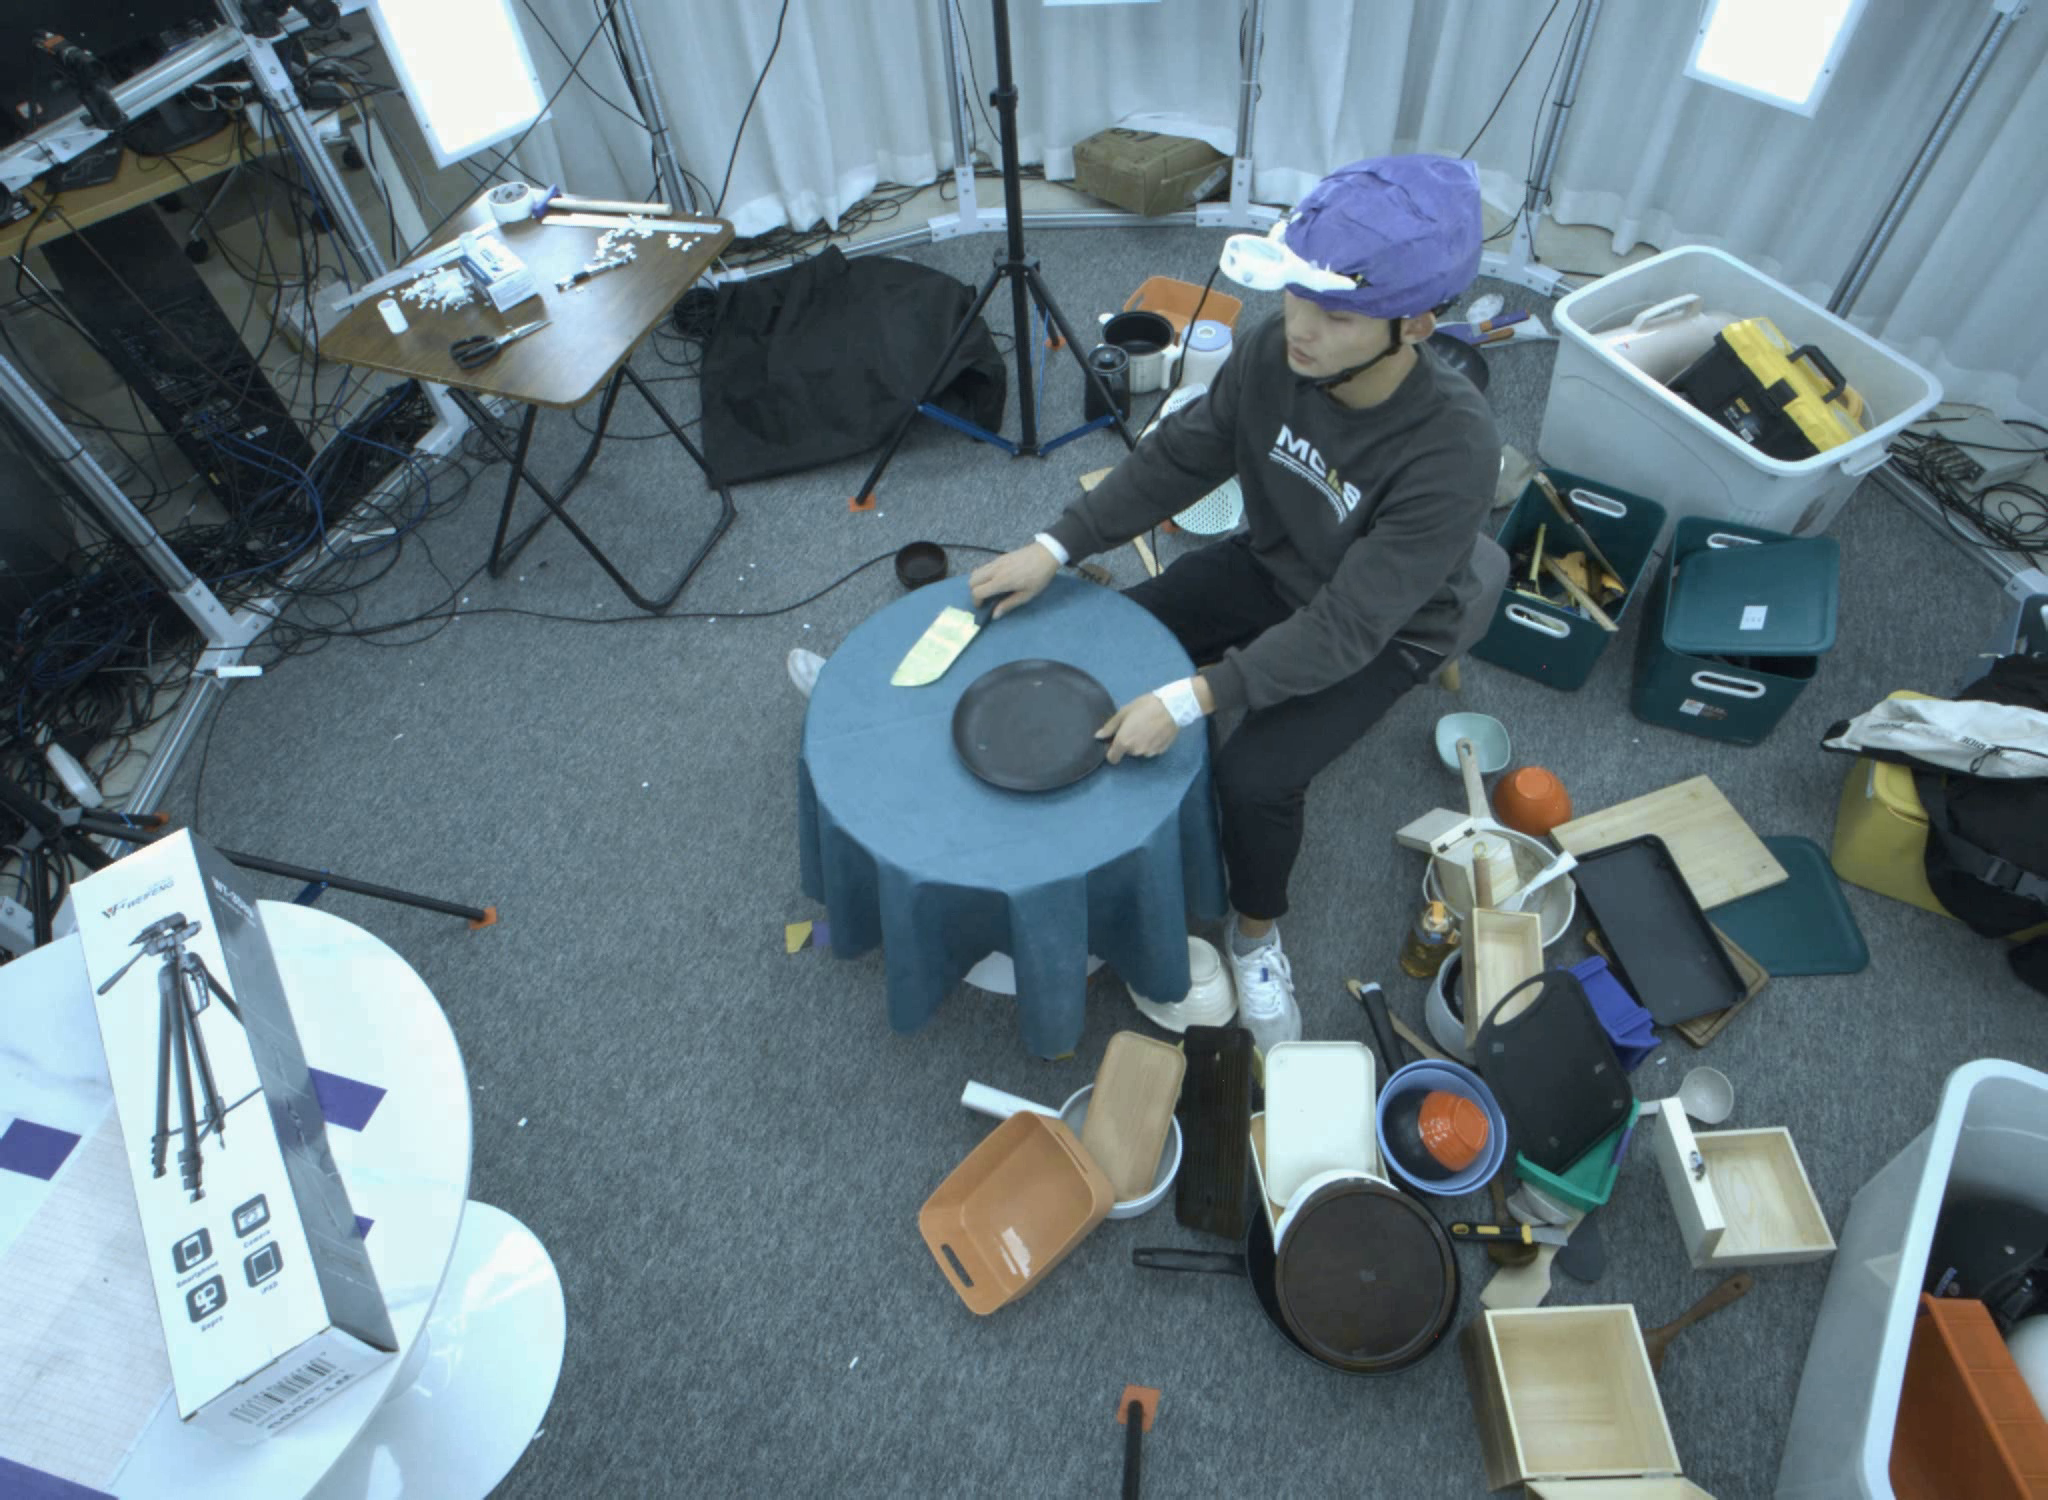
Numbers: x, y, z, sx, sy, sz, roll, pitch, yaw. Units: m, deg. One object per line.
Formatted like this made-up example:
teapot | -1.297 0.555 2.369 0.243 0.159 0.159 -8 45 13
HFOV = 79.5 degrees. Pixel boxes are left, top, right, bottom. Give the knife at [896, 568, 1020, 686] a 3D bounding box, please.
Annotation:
knife | -0.103 -0.197 1.930 0.080 0.027 0.291 30 61 20

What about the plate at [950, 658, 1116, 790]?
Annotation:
plate | 0.014 -0.036 1.806 0.244 0.023 0.242 0 55 1
